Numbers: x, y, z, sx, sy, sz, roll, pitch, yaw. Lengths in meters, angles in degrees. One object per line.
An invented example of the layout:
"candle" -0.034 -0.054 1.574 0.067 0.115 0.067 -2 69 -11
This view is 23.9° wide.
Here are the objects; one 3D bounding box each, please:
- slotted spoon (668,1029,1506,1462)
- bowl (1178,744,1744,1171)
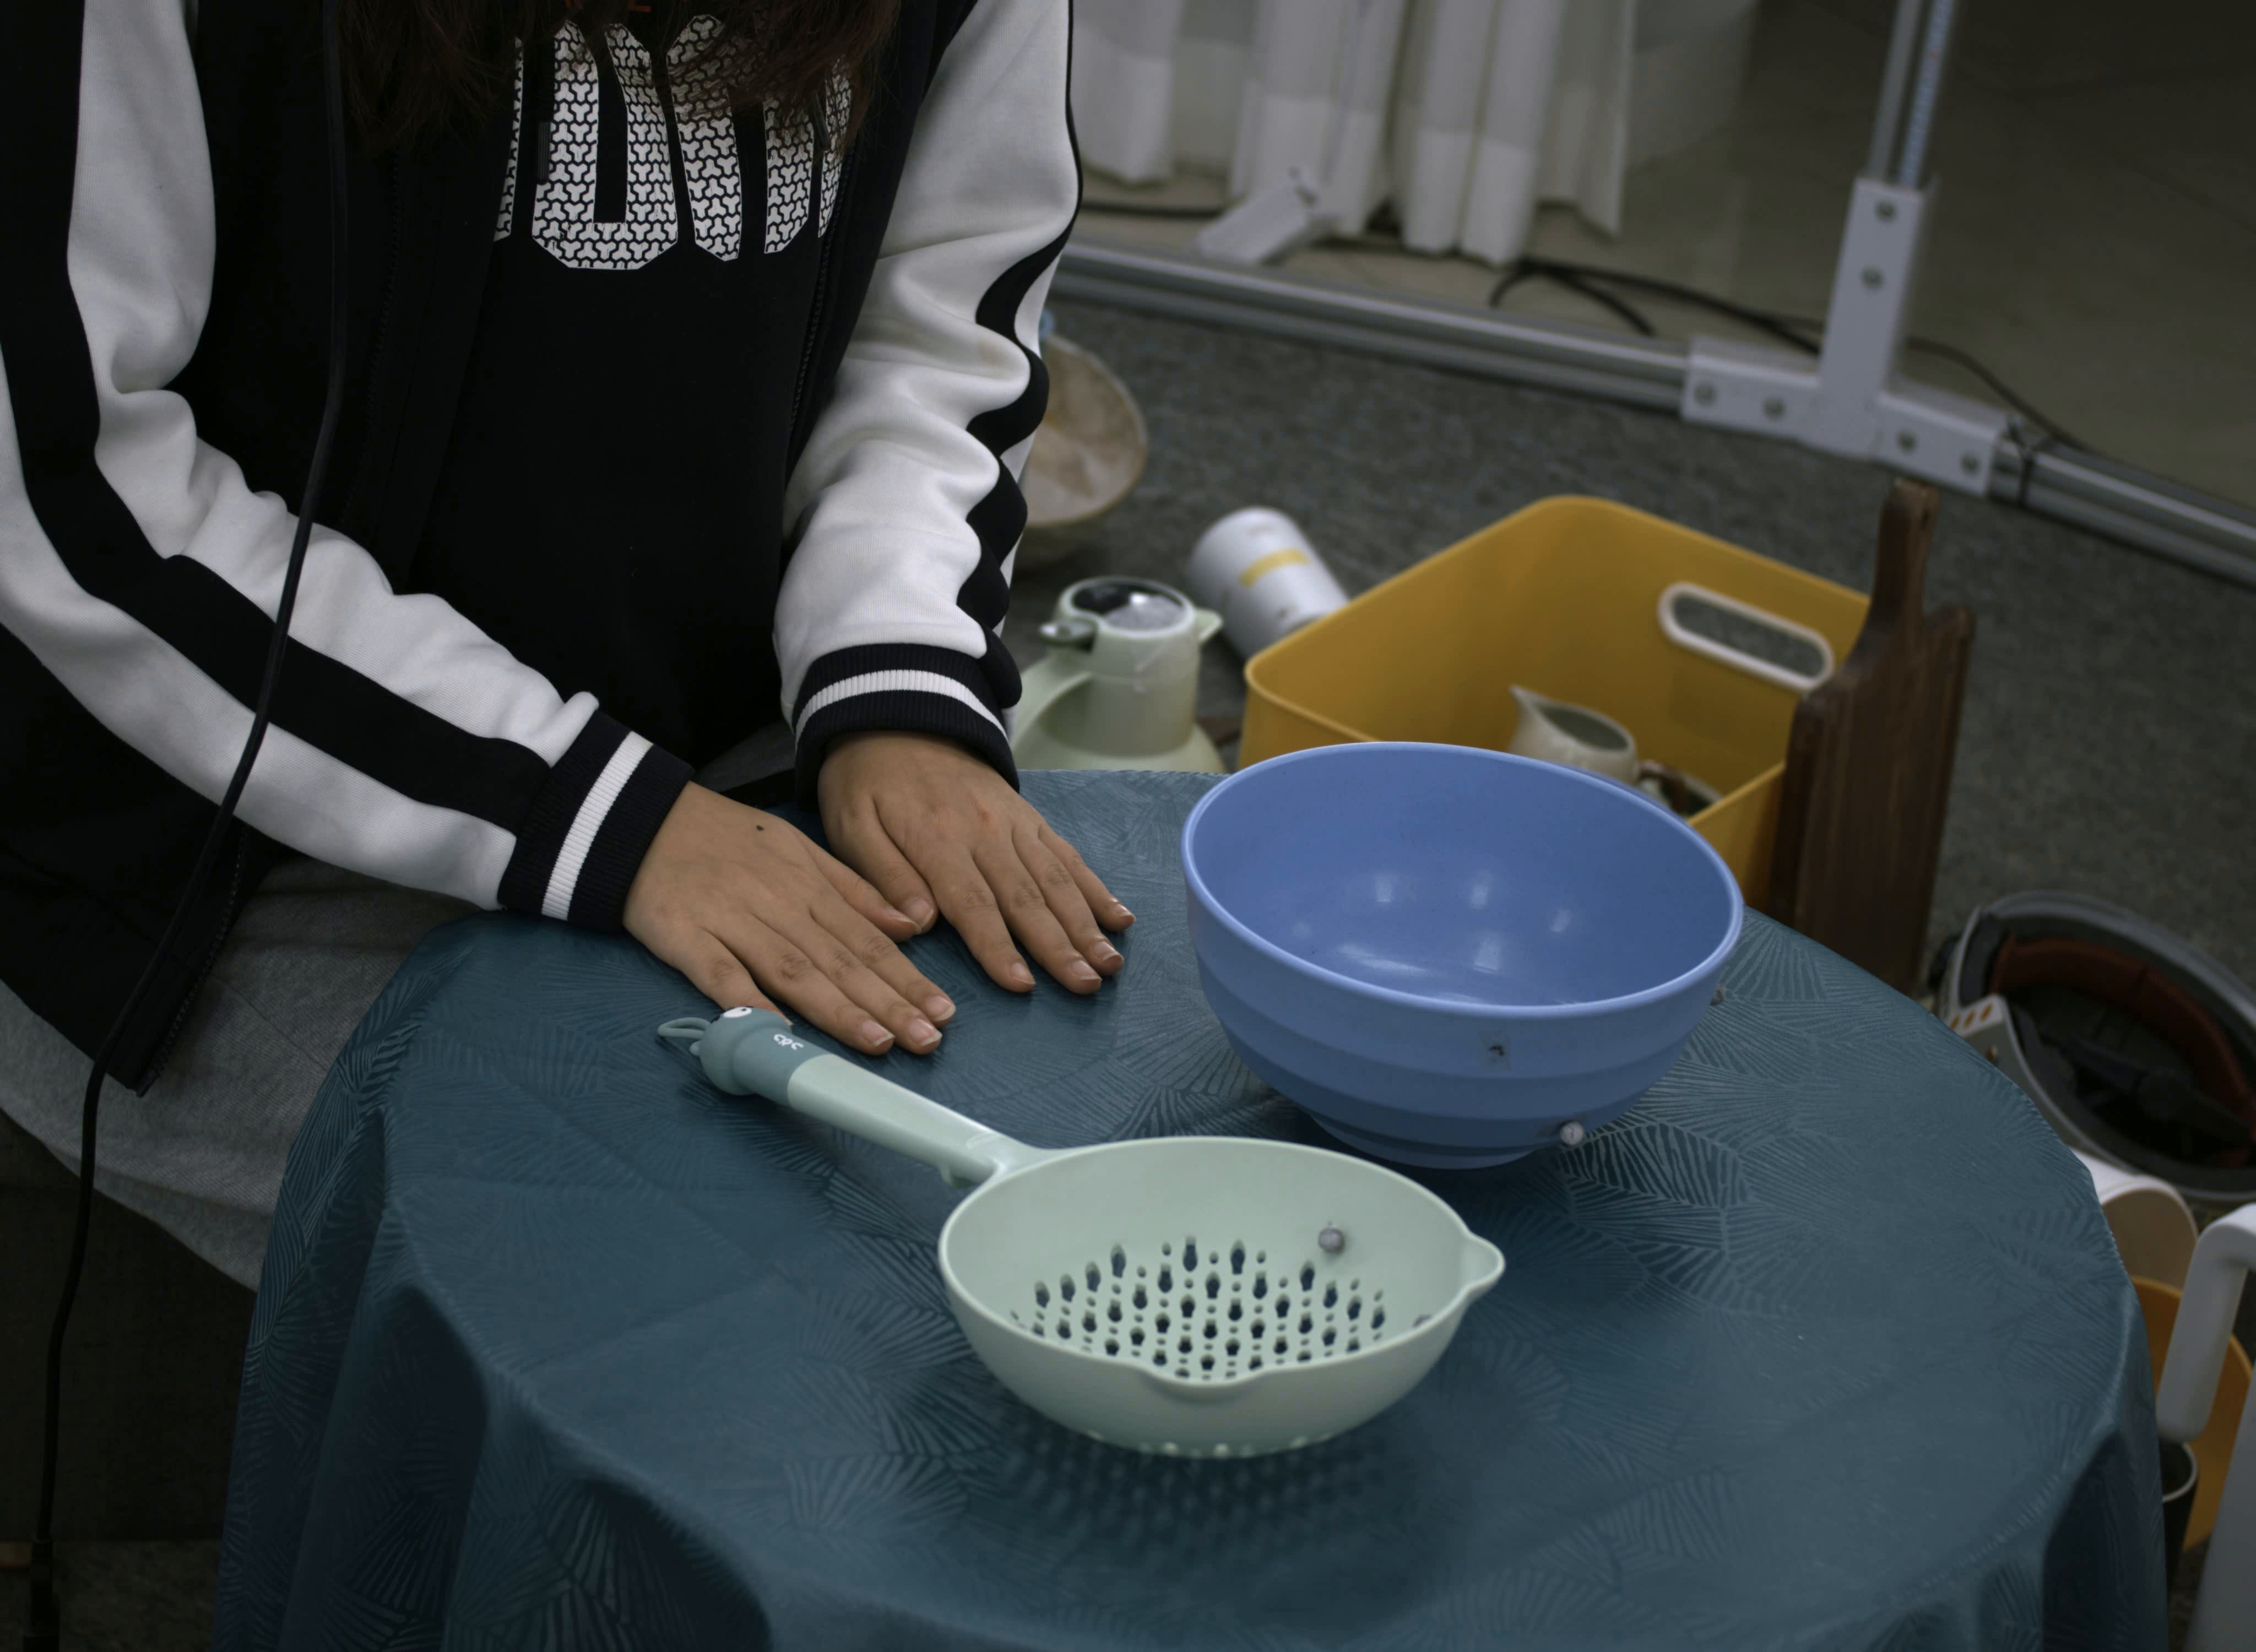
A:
"slotted spoon" -0.039 0.120 1.737 0.168 0.075 0.362 -16 33 -38
"bowl" 0.110 0.057 1.855 0.196 0.095 0.198 5 27 -3
